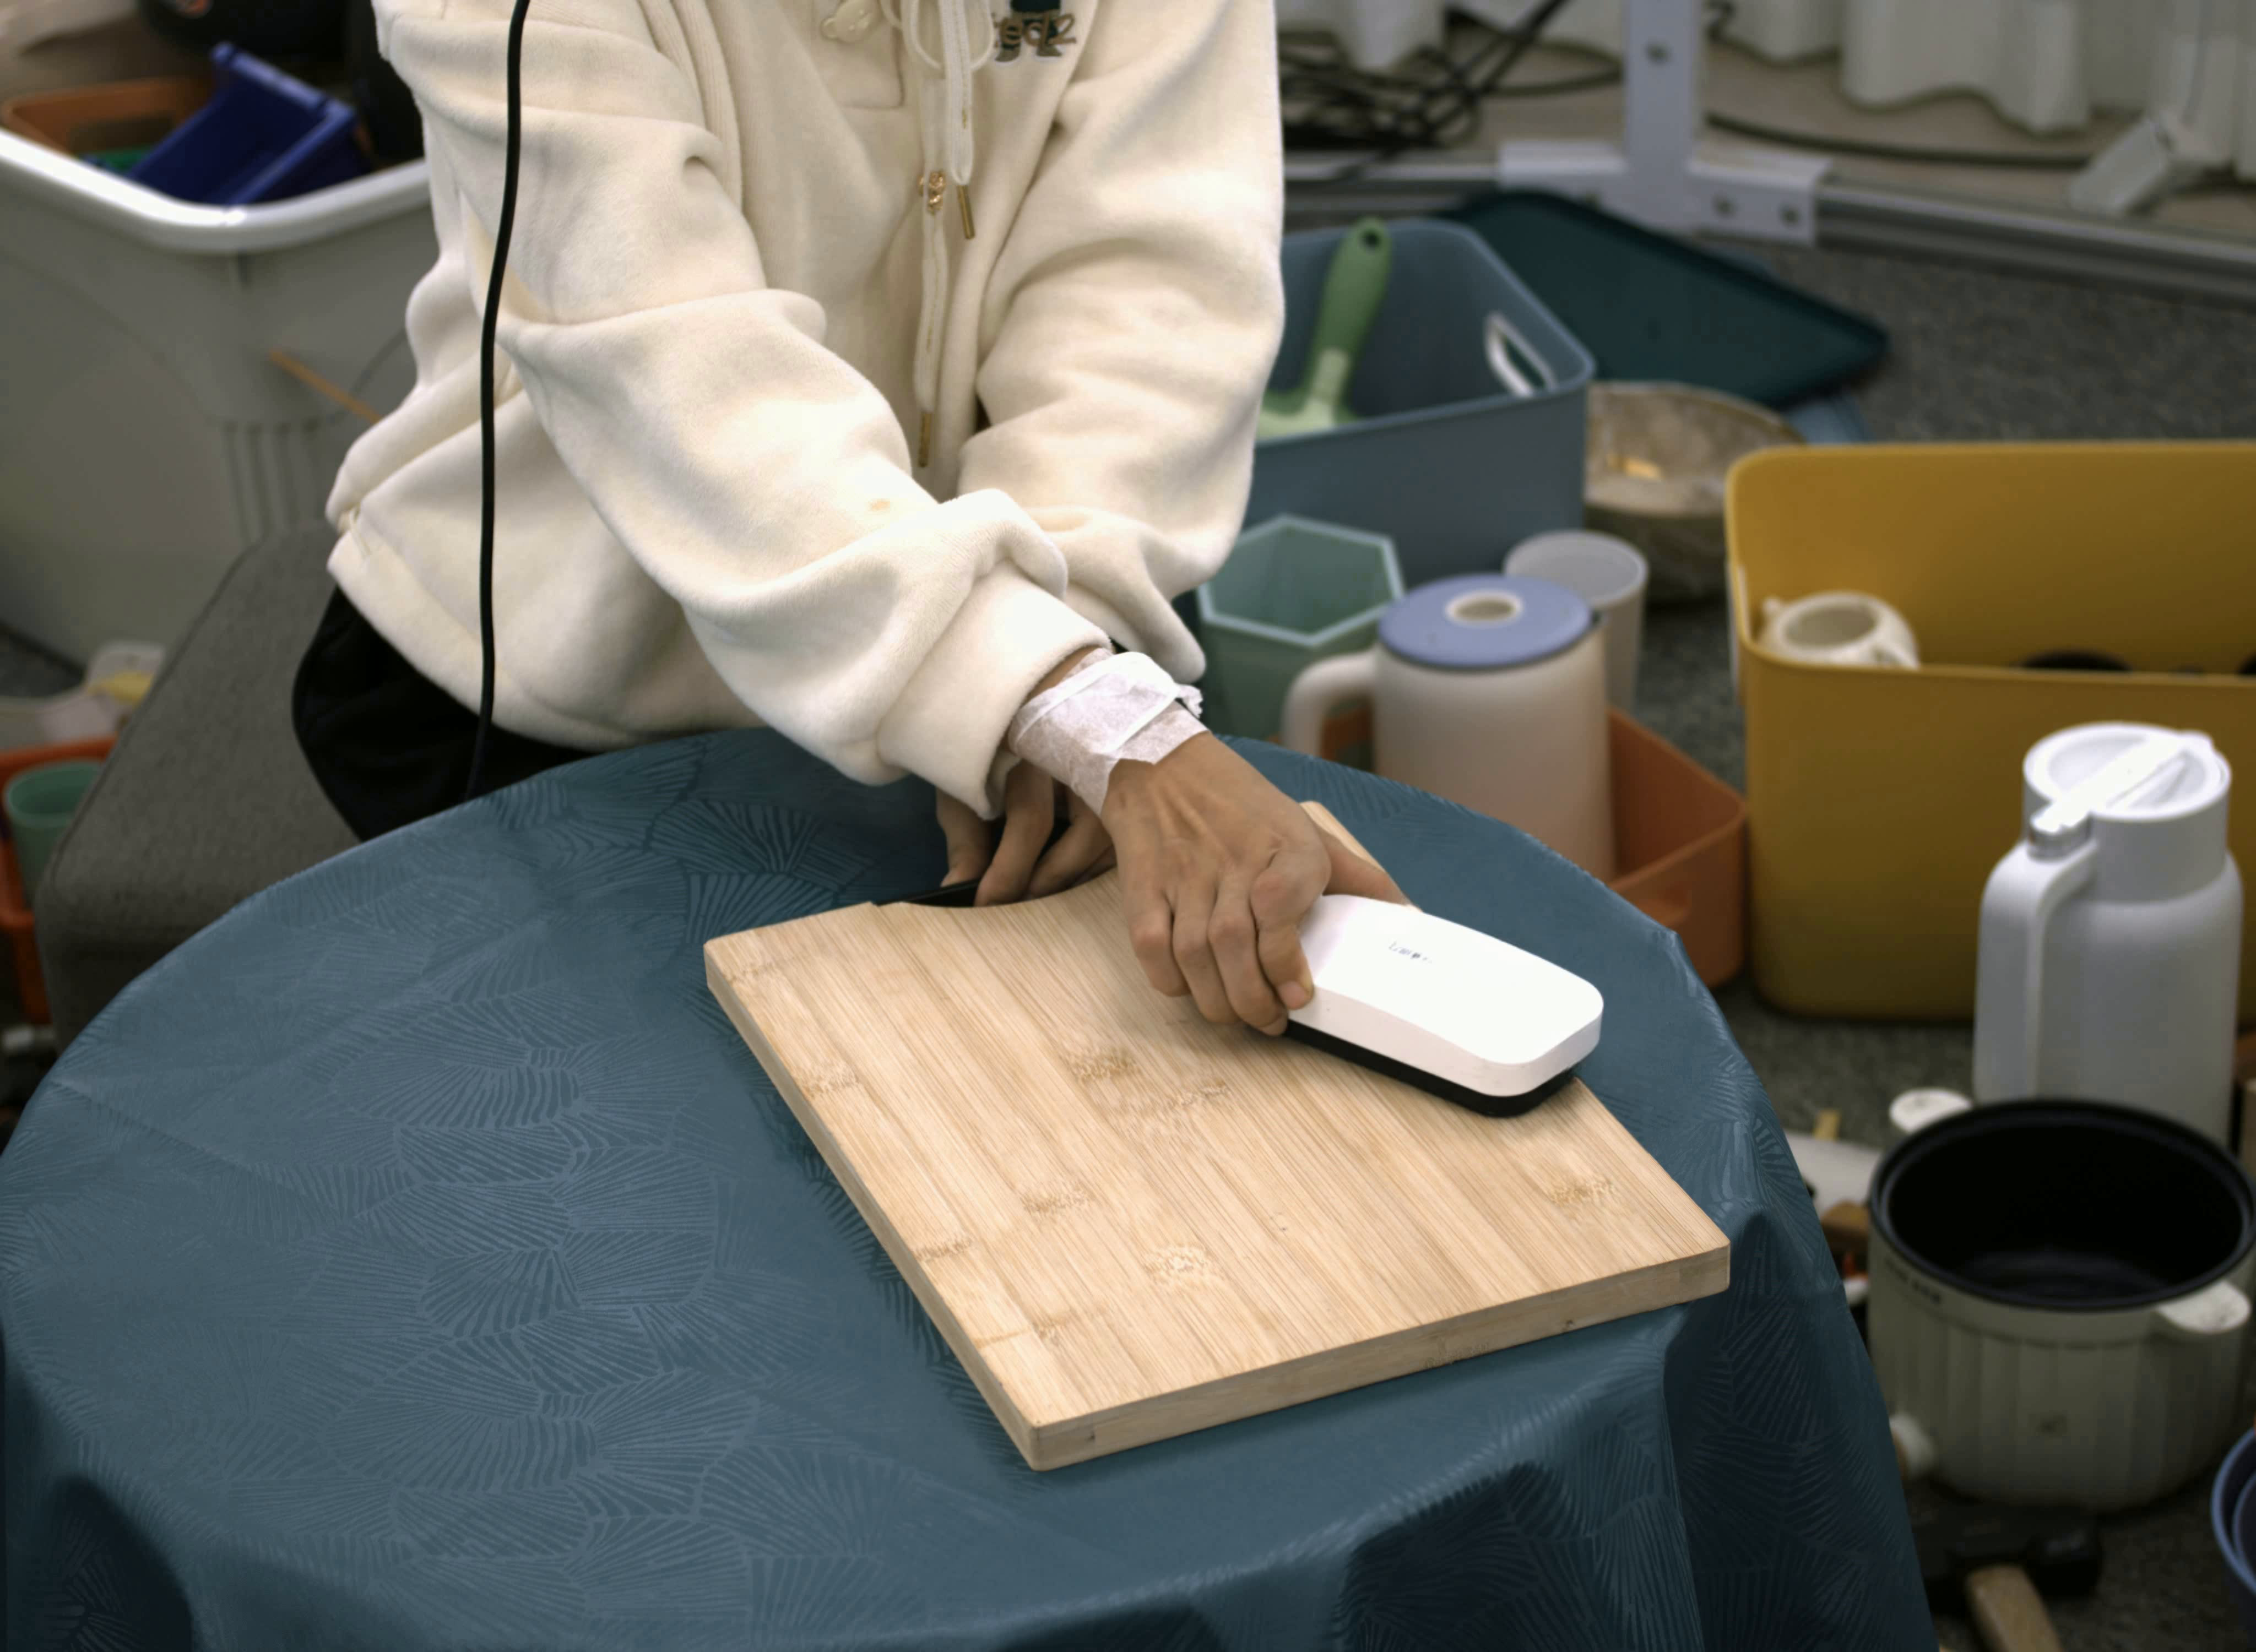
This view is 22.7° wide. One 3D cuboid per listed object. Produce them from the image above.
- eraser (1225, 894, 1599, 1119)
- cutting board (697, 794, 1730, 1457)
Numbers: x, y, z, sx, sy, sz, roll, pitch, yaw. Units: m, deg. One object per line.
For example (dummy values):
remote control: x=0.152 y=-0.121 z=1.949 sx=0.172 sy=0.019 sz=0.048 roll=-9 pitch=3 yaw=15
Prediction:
eraser: x=0.096 y=0.057 z=1.905 sx=0.131 sy=0.034 sz=0.064 roll=22 pitch=36 yaw=38
cutting board: x=0.019 y=0.093 z=1.898 sx=0.251 sy=0.023 sz=0.351 roll=-13 pitch=29 yaw=-19
